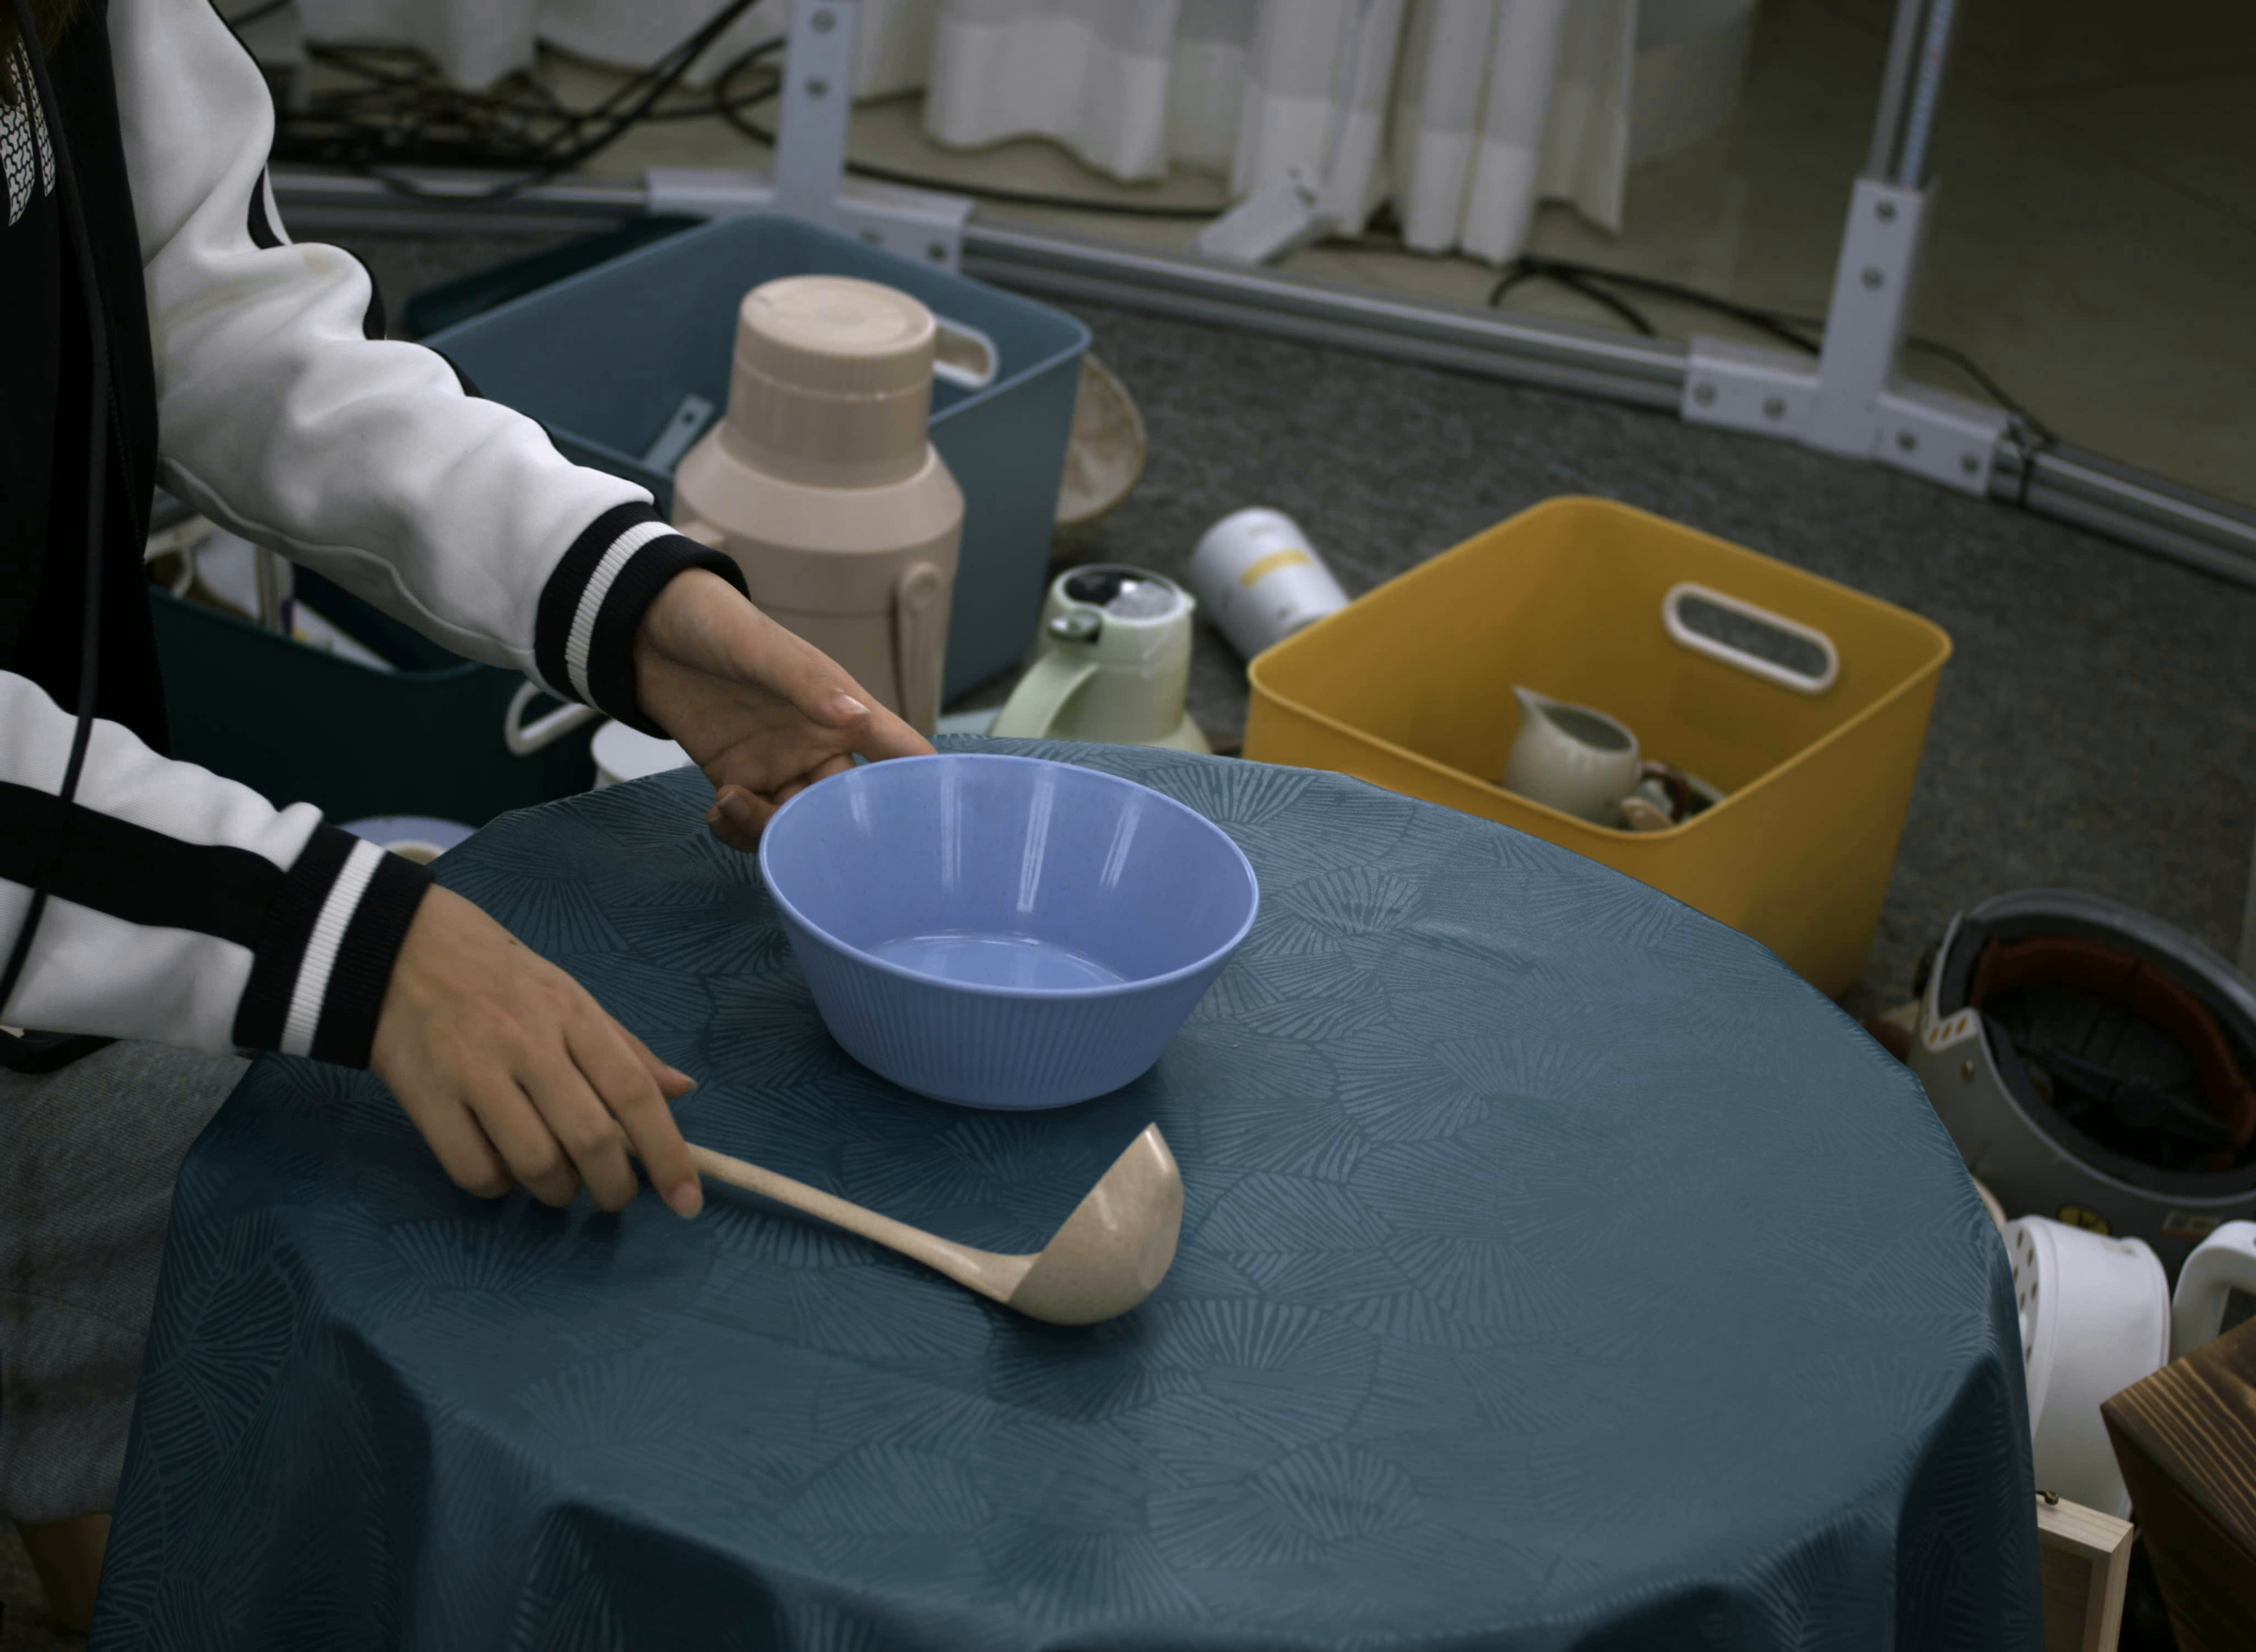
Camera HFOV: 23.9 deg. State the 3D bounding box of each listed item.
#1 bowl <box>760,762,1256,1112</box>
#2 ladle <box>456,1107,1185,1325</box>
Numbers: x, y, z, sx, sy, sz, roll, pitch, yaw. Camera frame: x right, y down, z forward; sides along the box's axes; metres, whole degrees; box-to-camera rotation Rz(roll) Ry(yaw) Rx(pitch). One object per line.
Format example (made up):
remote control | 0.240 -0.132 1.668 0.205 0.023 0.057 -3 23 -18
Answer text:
bowl | -0.045 0.045 1.871 0.175 0.070 0.177 6 26 -3
ladle | -0.105 0.101 1.743 0.255 0.072 0.072 15 27 17
